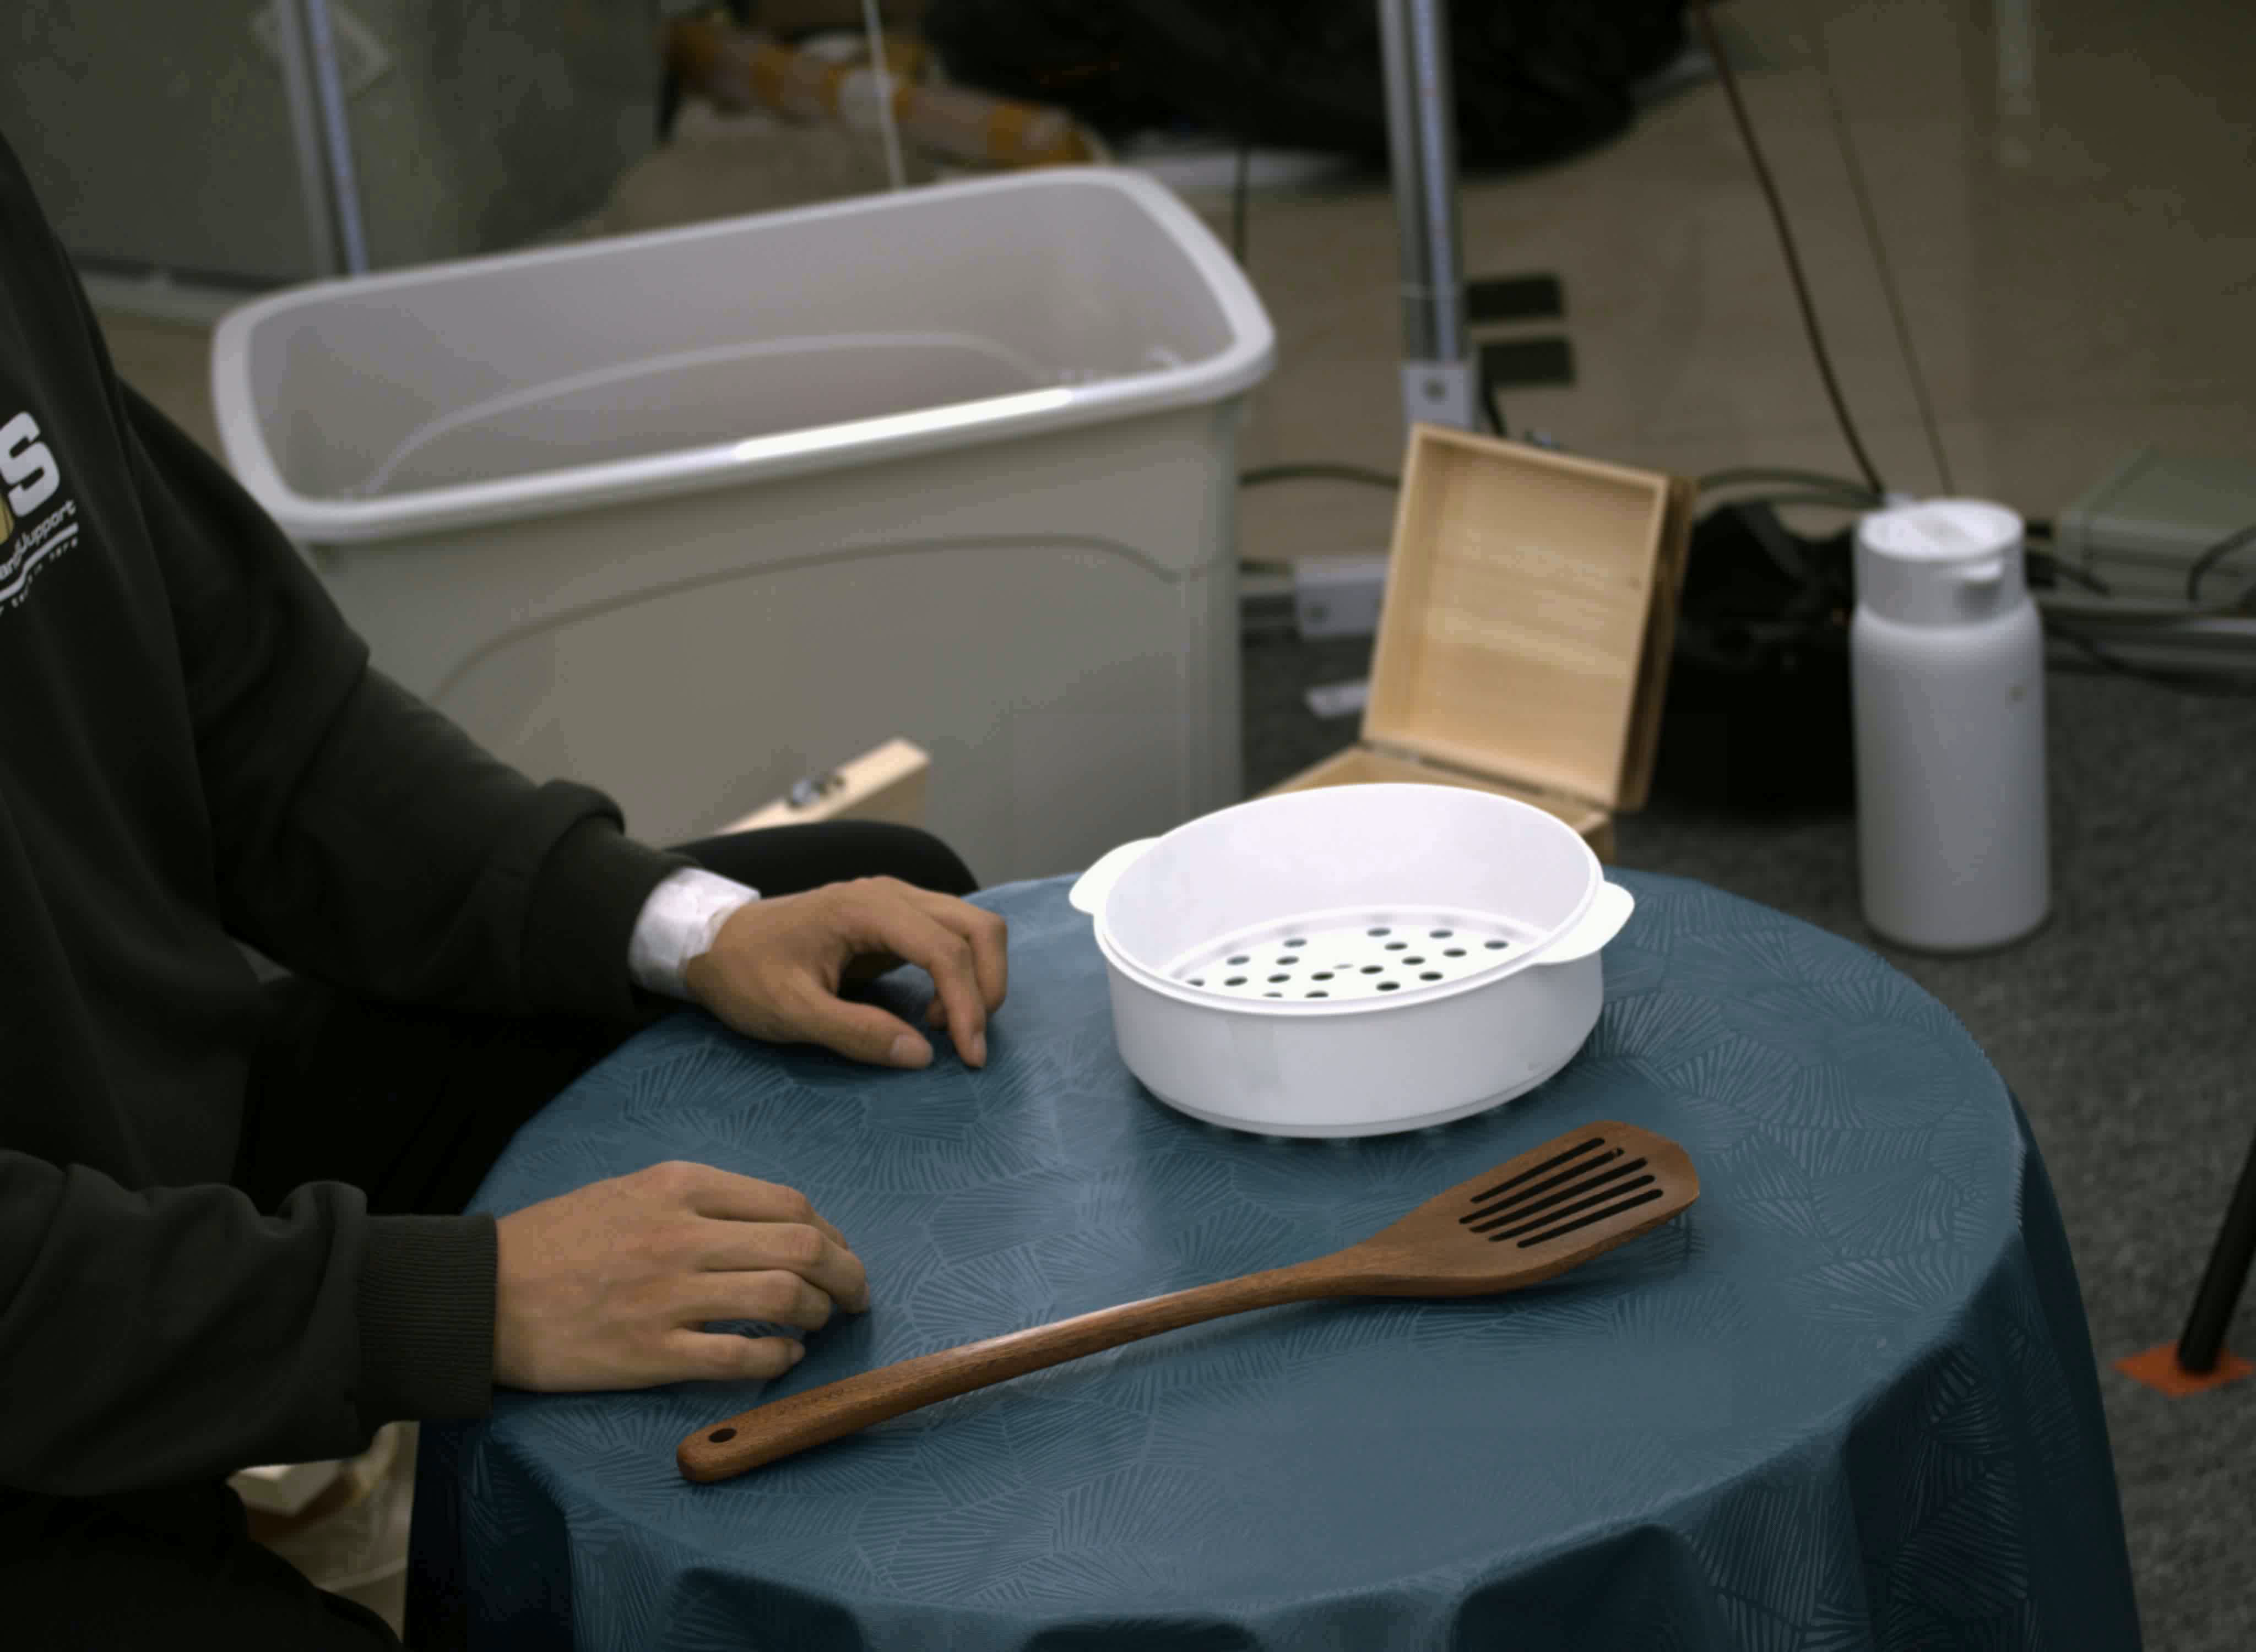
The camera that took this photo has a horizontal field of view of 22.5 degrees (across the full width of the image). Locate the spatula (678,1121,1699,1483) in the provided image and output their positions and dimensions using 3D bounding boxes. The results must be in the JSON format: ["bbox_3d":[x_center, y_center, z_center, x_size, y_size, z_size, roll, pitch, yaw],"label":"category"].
[{"bbox_3d":[0.023,0.177,2.040,0.384,0.024,0.085,-15,24,-15],"label":"spatula"}]

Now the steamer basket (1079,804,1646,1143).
[{"bbox_3d":[0.094,0.058,2.229,0.230,0.070,0.199,3,24,27],"label":"steamer basket"}]
